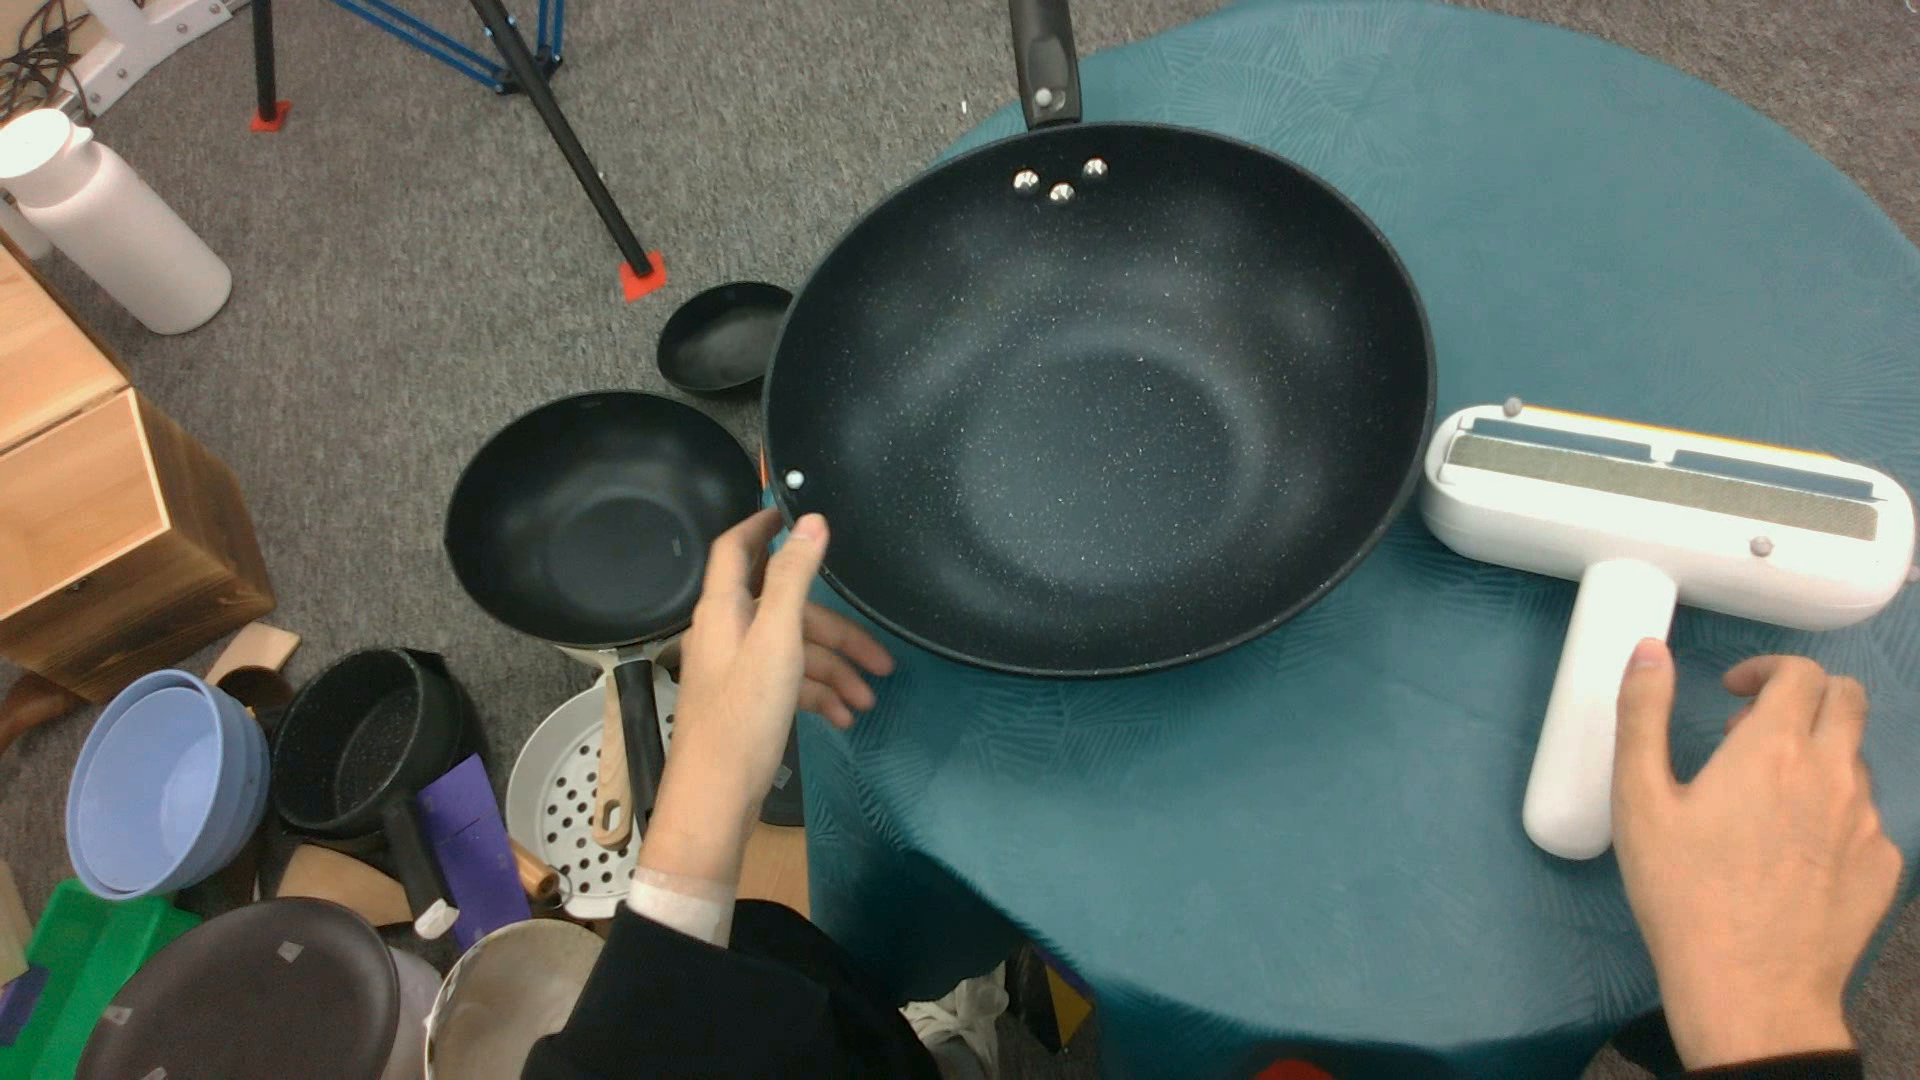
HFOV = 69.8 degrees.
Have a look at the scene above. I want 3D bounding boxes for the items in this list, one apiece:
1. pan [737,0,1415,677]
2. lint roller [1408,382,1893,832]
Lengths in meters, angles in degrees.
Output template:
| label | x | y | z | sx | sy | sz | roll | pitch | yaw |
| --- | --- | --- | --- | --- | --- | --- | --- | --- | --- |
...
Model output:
| label | x | y | z | sx | sy | sz | roll | pitch | yaw |
| --- | --- | --- | --- | --- | --- | --- | --- | --- | --- |
| pan | 0.046 | -0.142 | 0.697 | 0.310 | 0.111 | 0.478 | -7 | 62 | 3 |
| lint roller | 0.271 | 0.031 | 0.591 | 0.193 | 0.074 | 0.193 | 20 | 68 | 24 |
